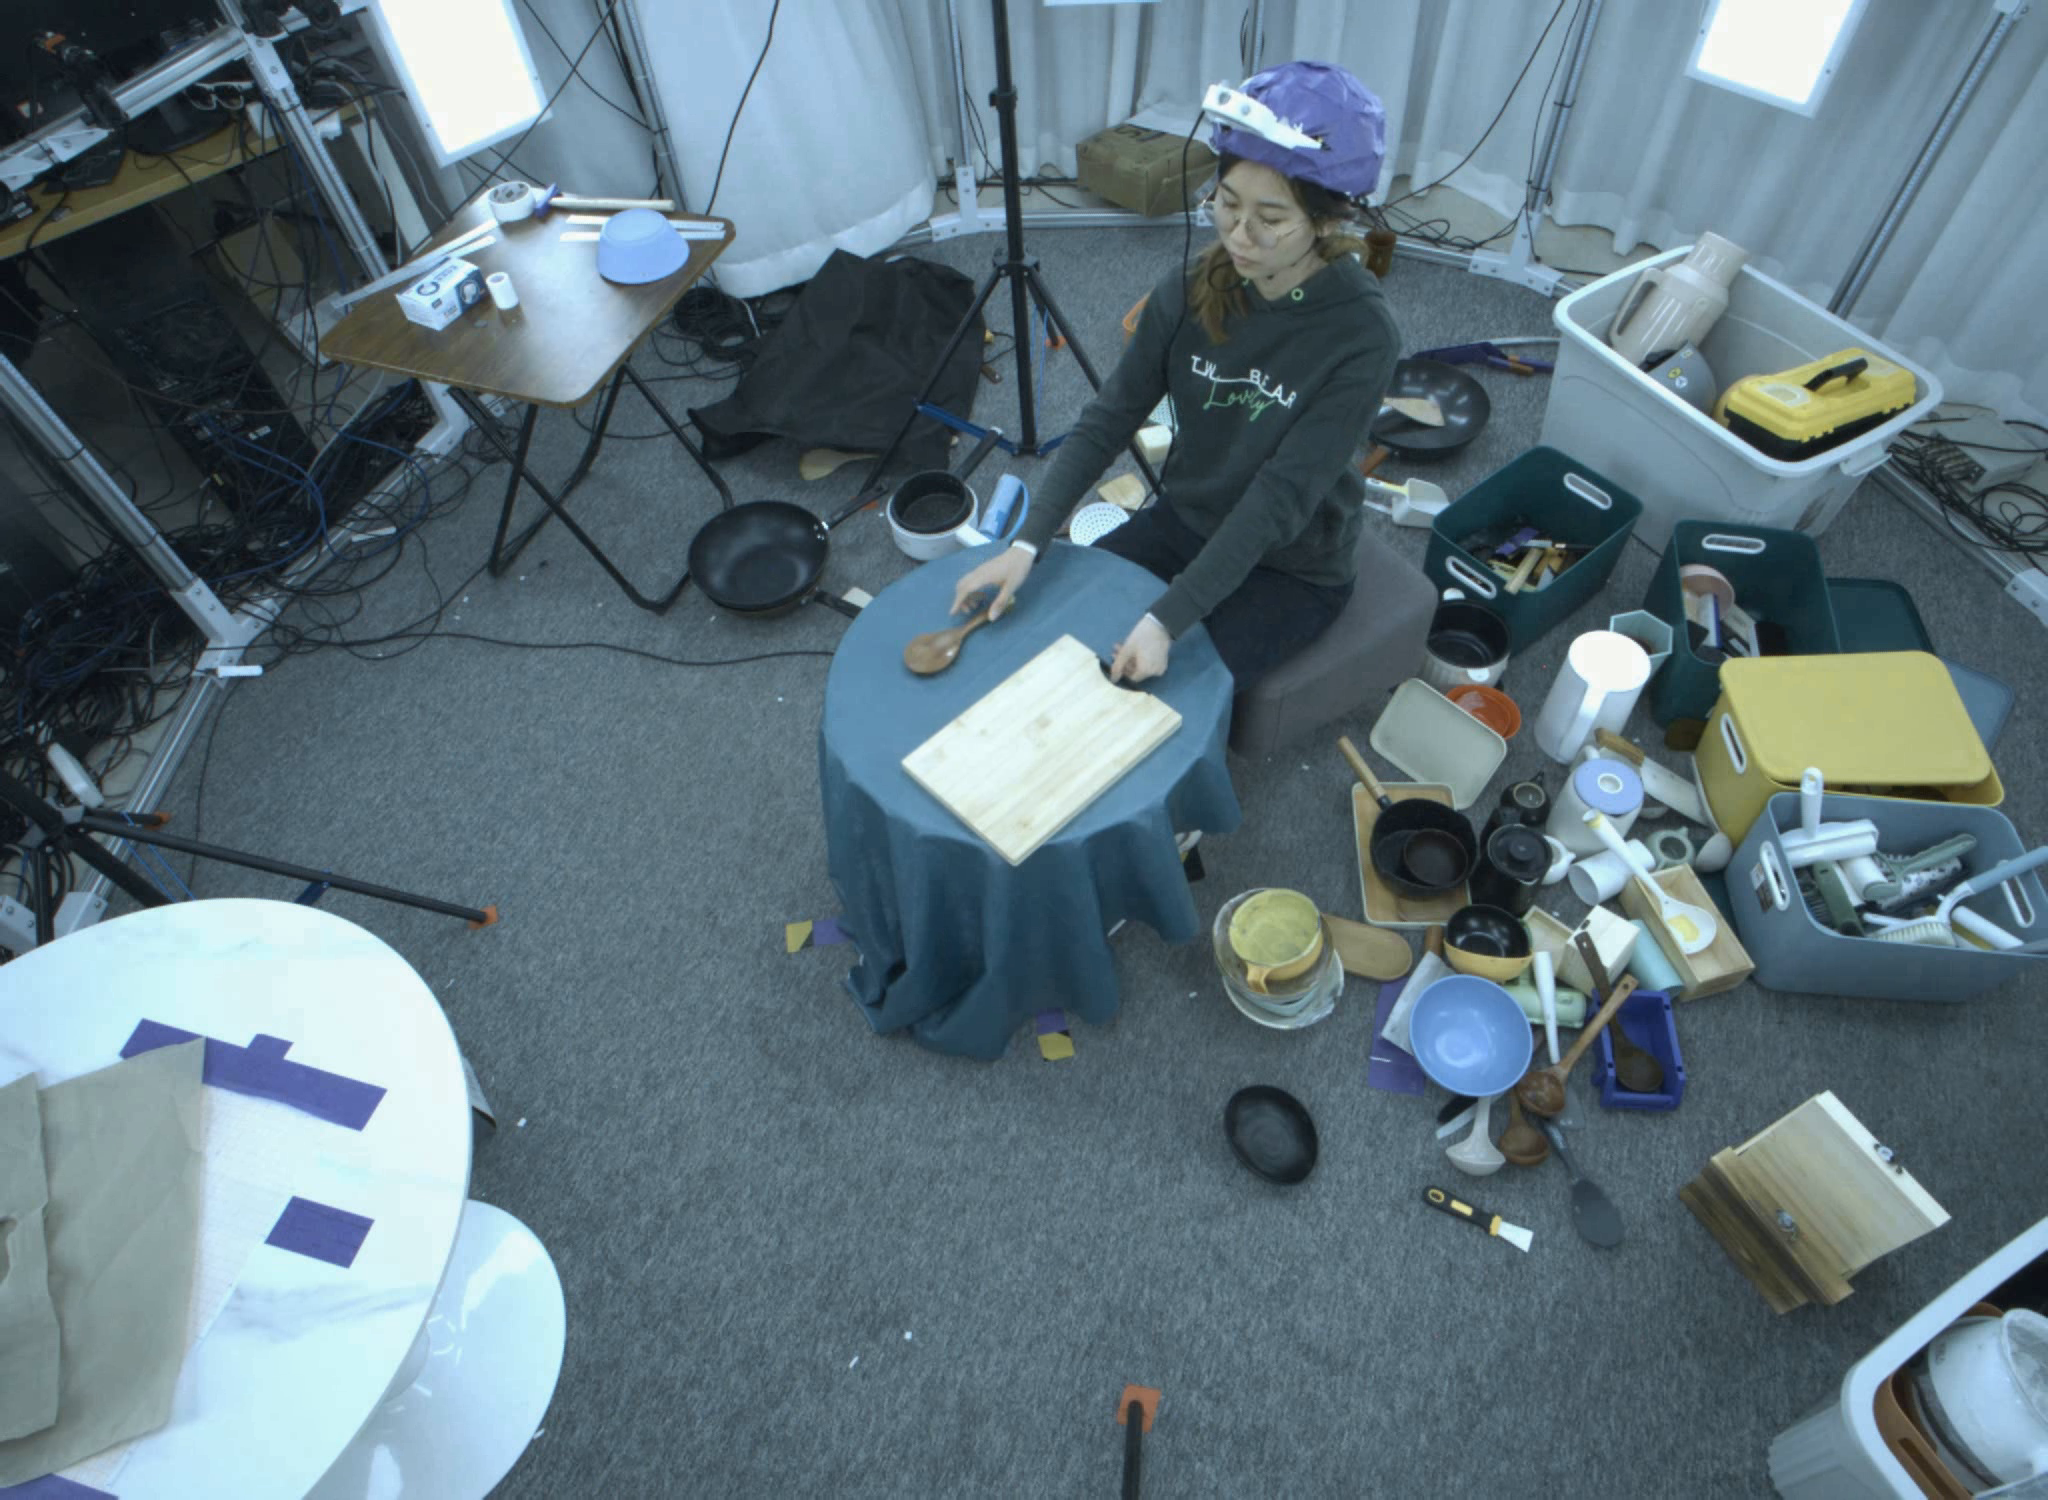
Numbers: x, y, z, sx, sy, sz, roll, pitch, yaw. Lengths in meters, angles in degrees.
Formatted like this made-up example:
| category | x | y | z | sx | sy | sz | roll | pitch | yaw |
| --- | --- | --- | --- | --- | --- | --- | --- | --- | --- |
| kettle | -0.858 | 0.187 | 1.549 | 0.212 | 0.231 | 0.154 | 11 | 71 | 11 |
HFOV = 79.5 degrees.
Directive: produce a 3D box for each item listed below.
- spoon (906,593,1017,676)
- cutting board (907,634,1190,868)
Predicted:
| category | x | y | z | sx | sy | sz | roll | pitch | yaw |
| --- | --- | --- | --- | --- | --- | --- | --- | --- | --- |
| spoon | -0.094 | -0.180 | 1.916 | 0.217 | 0.017 | 0.074 | -39 | 61 | -22 |
| cutting board | 0.035 | -0.009 | 1.793 | 0.246 | 0.024 | 0.351 | 39 | 64 | 24 |
